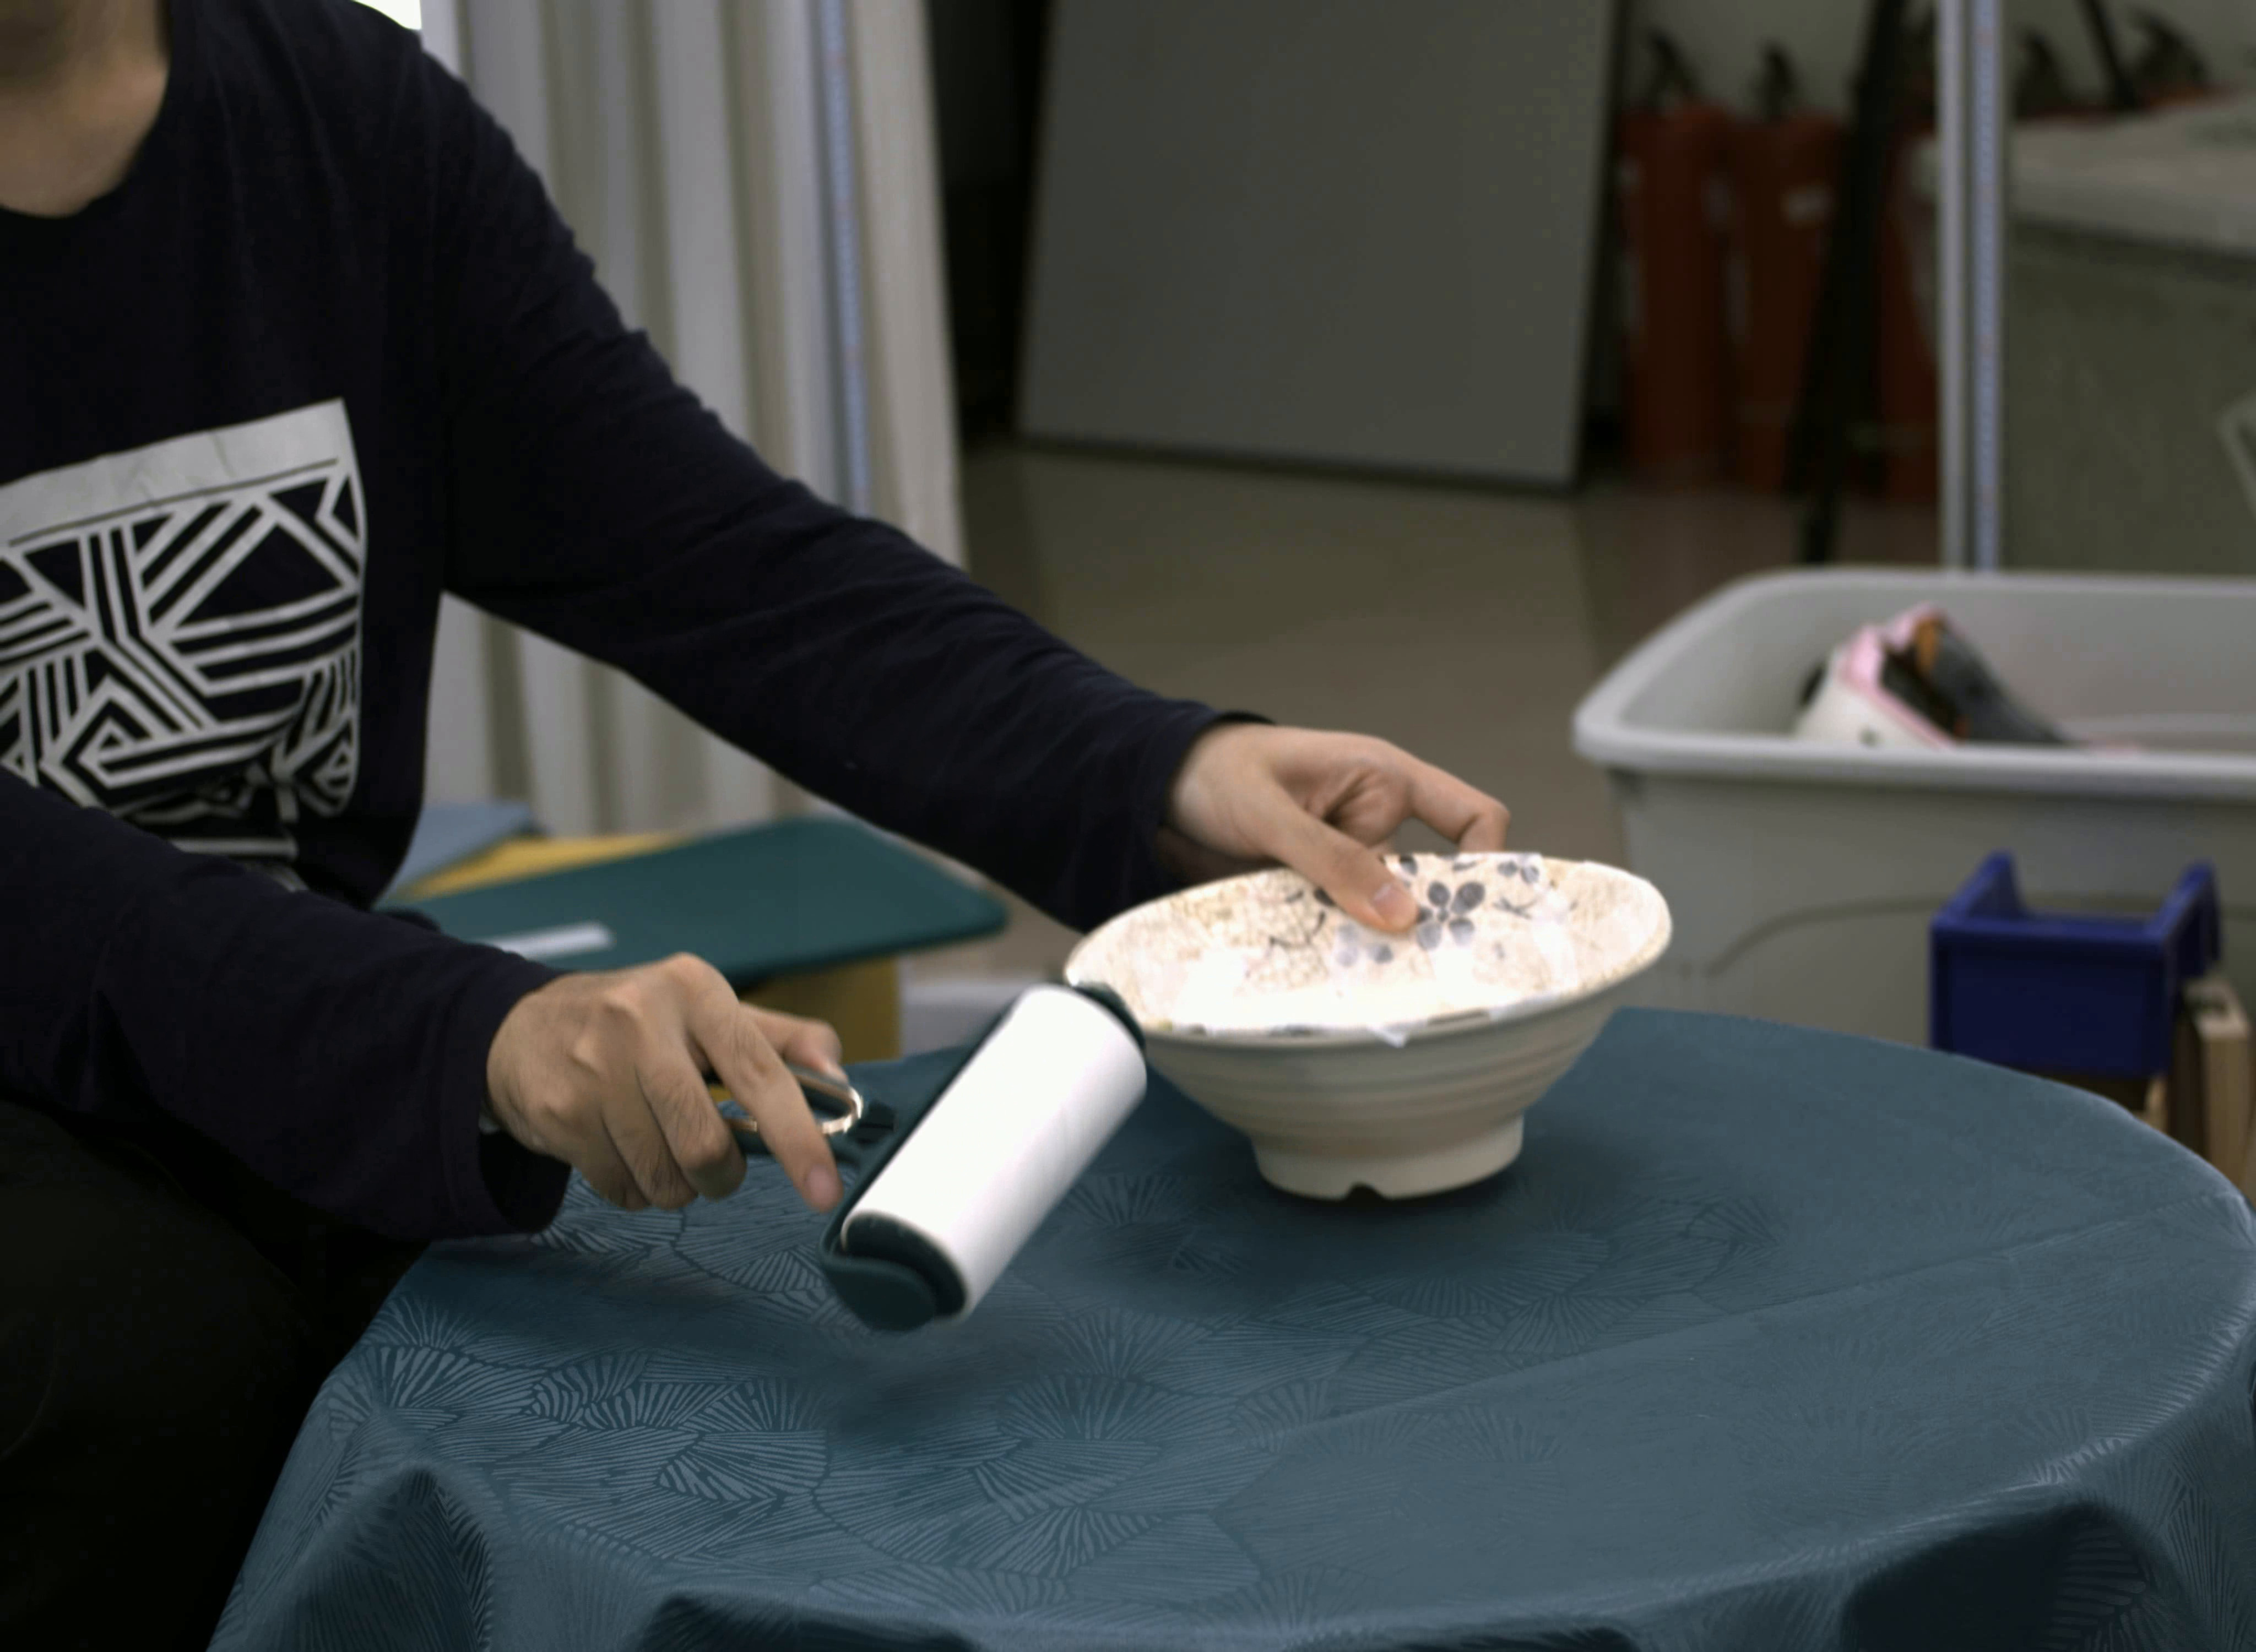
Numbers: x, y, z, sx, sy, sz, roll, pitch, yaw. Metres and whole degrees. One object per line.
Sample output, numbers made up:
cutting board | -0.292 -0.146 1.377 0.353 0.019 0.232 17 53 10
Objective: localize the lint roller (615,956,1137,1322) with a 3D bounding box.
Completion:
lint roller | -0.094 0.084 1.651 0.181 0.048 0.133 9 47 36

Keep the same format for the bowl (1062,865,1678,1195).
bowl | 0.082 0.072 1.757 0.201 0.079 0.204 -7 10 0
